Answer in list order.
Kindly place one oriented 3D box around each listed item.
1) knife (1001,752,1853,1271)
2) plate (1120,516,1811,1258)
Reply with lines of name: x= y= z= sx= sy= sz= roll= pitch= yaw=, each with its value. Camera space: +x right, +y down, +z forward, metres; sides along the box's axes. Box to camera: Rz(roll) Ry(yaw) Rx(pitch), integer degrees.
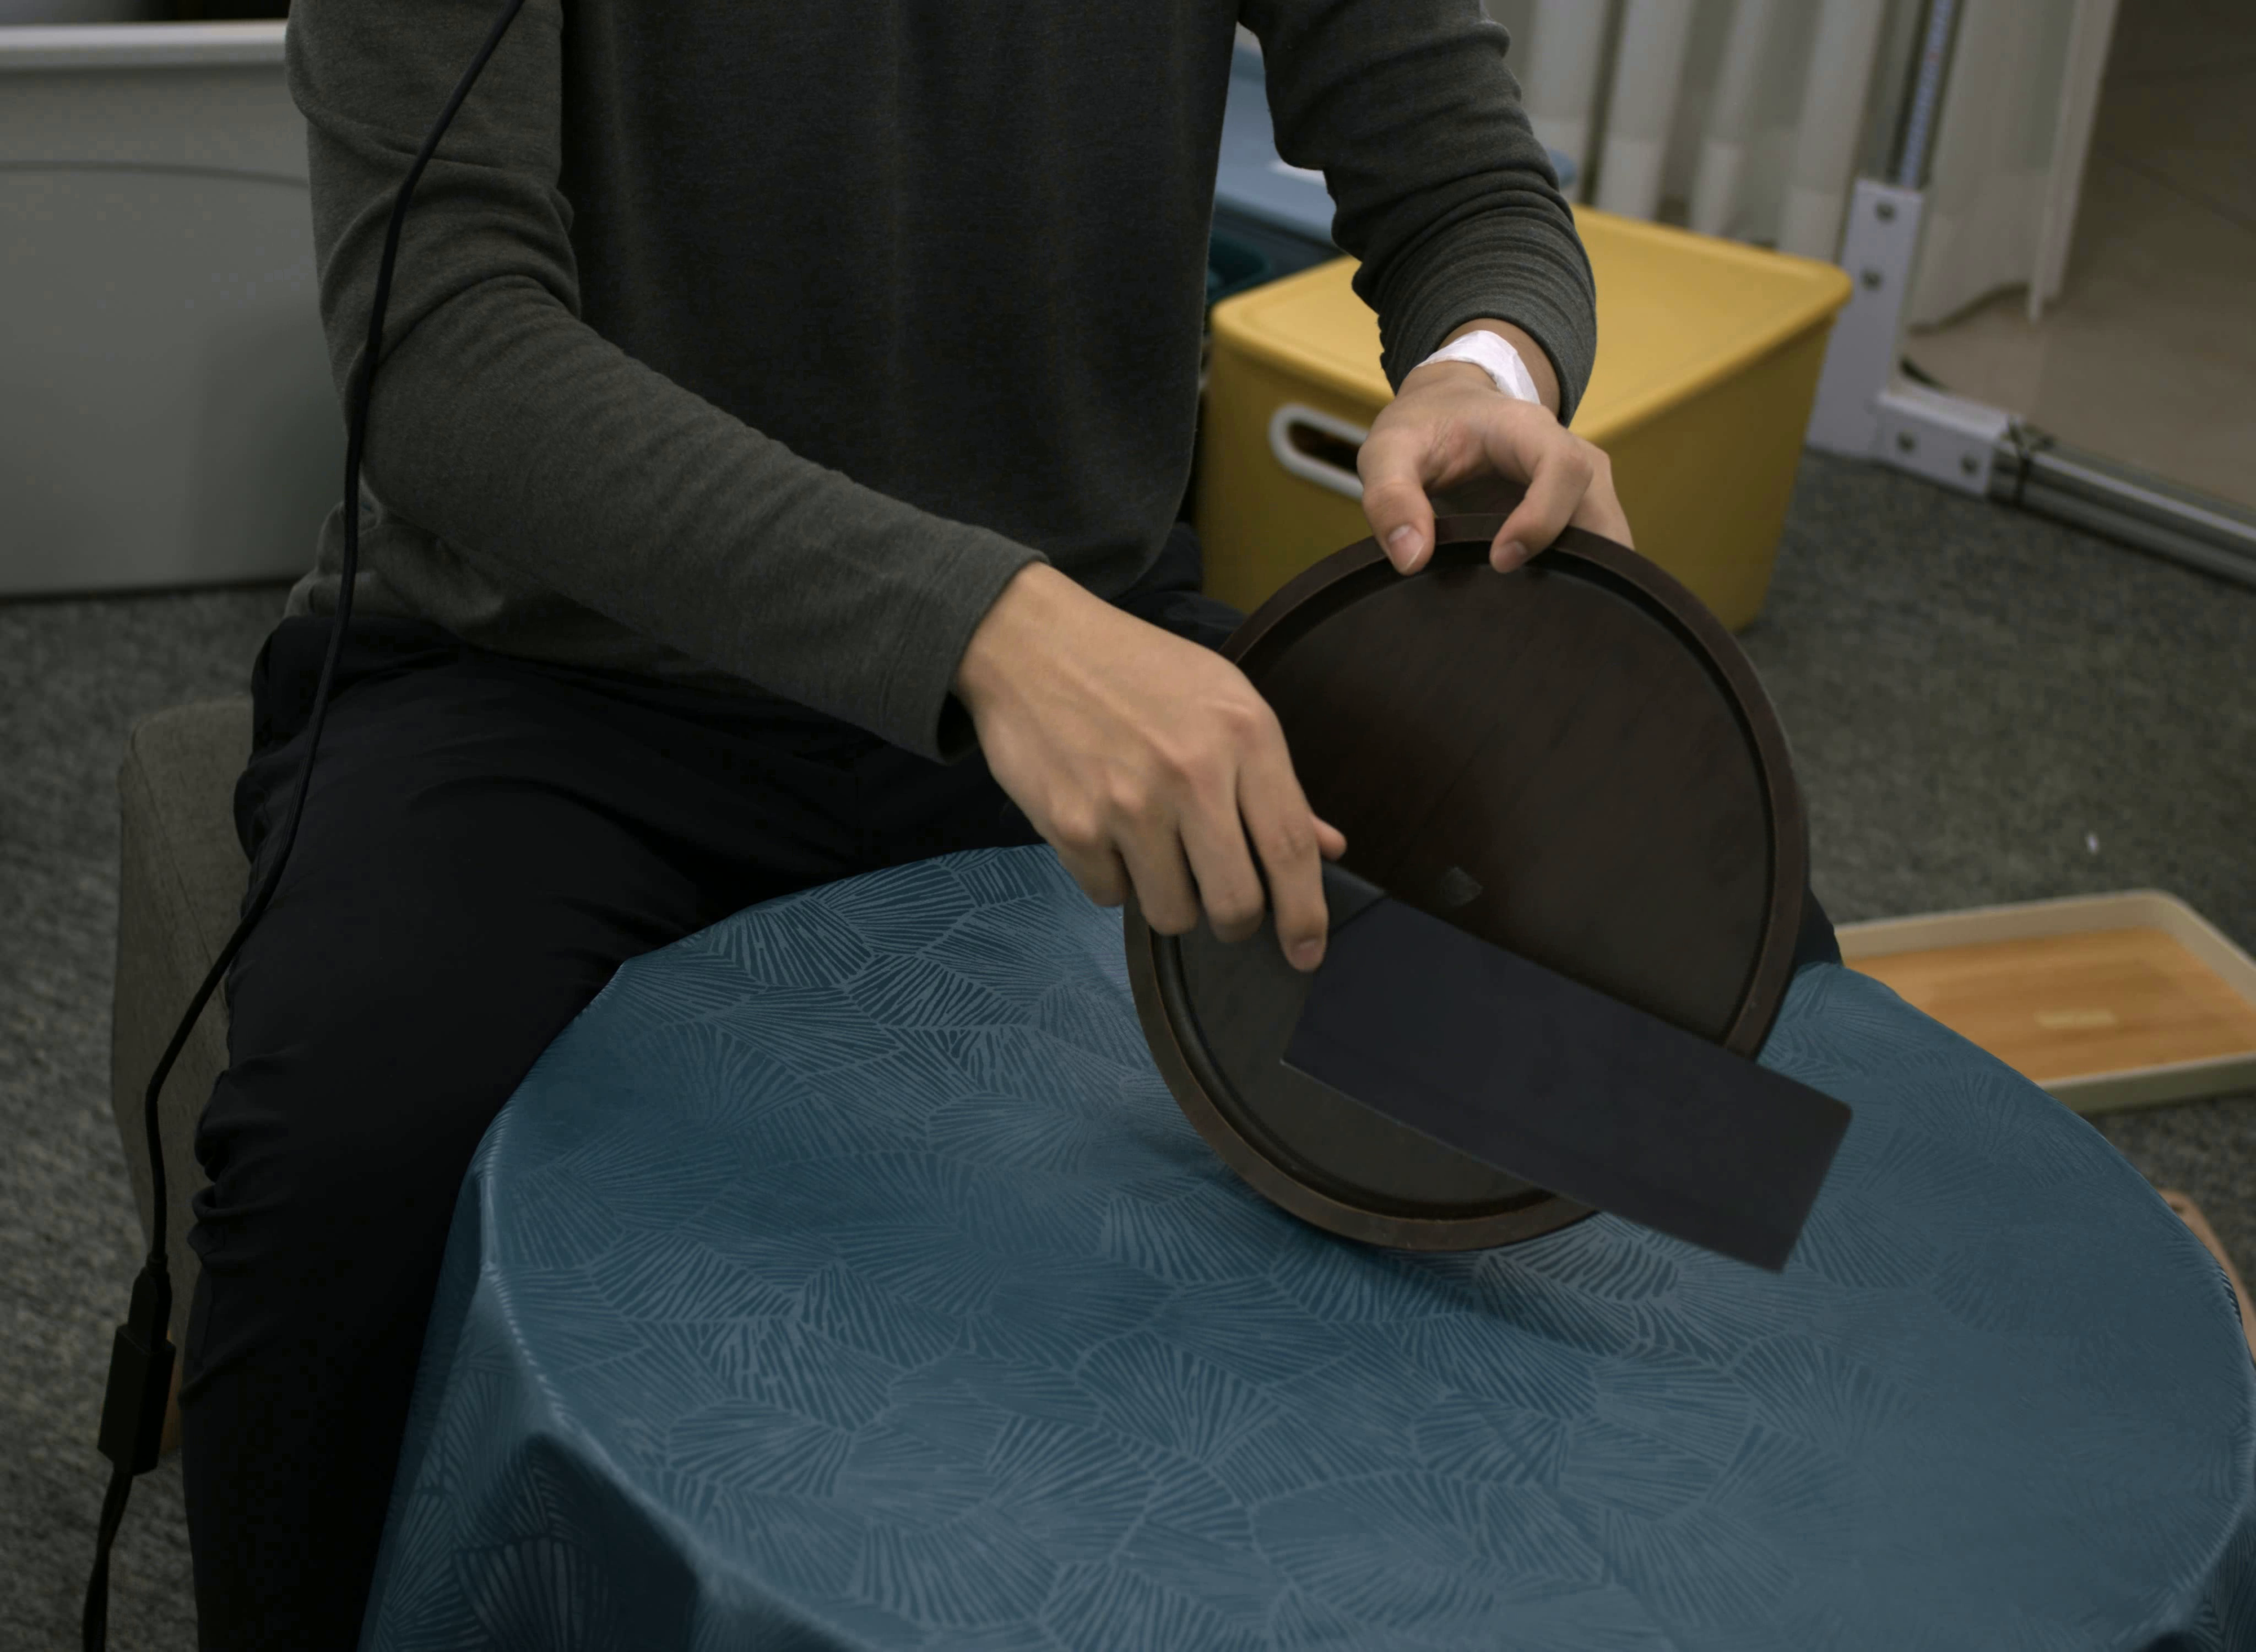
knife: x=0.092 y=0.056 z=1.749 sx=0.303 sy=0.081 sz=0.021 roll=29 pitch=3 yaw=14
plate: x=0.113 y=0.020 z=1.799 sx=0.256 sy=0.255 sz=0.029 roll=24 pitch=3 yaw=30
